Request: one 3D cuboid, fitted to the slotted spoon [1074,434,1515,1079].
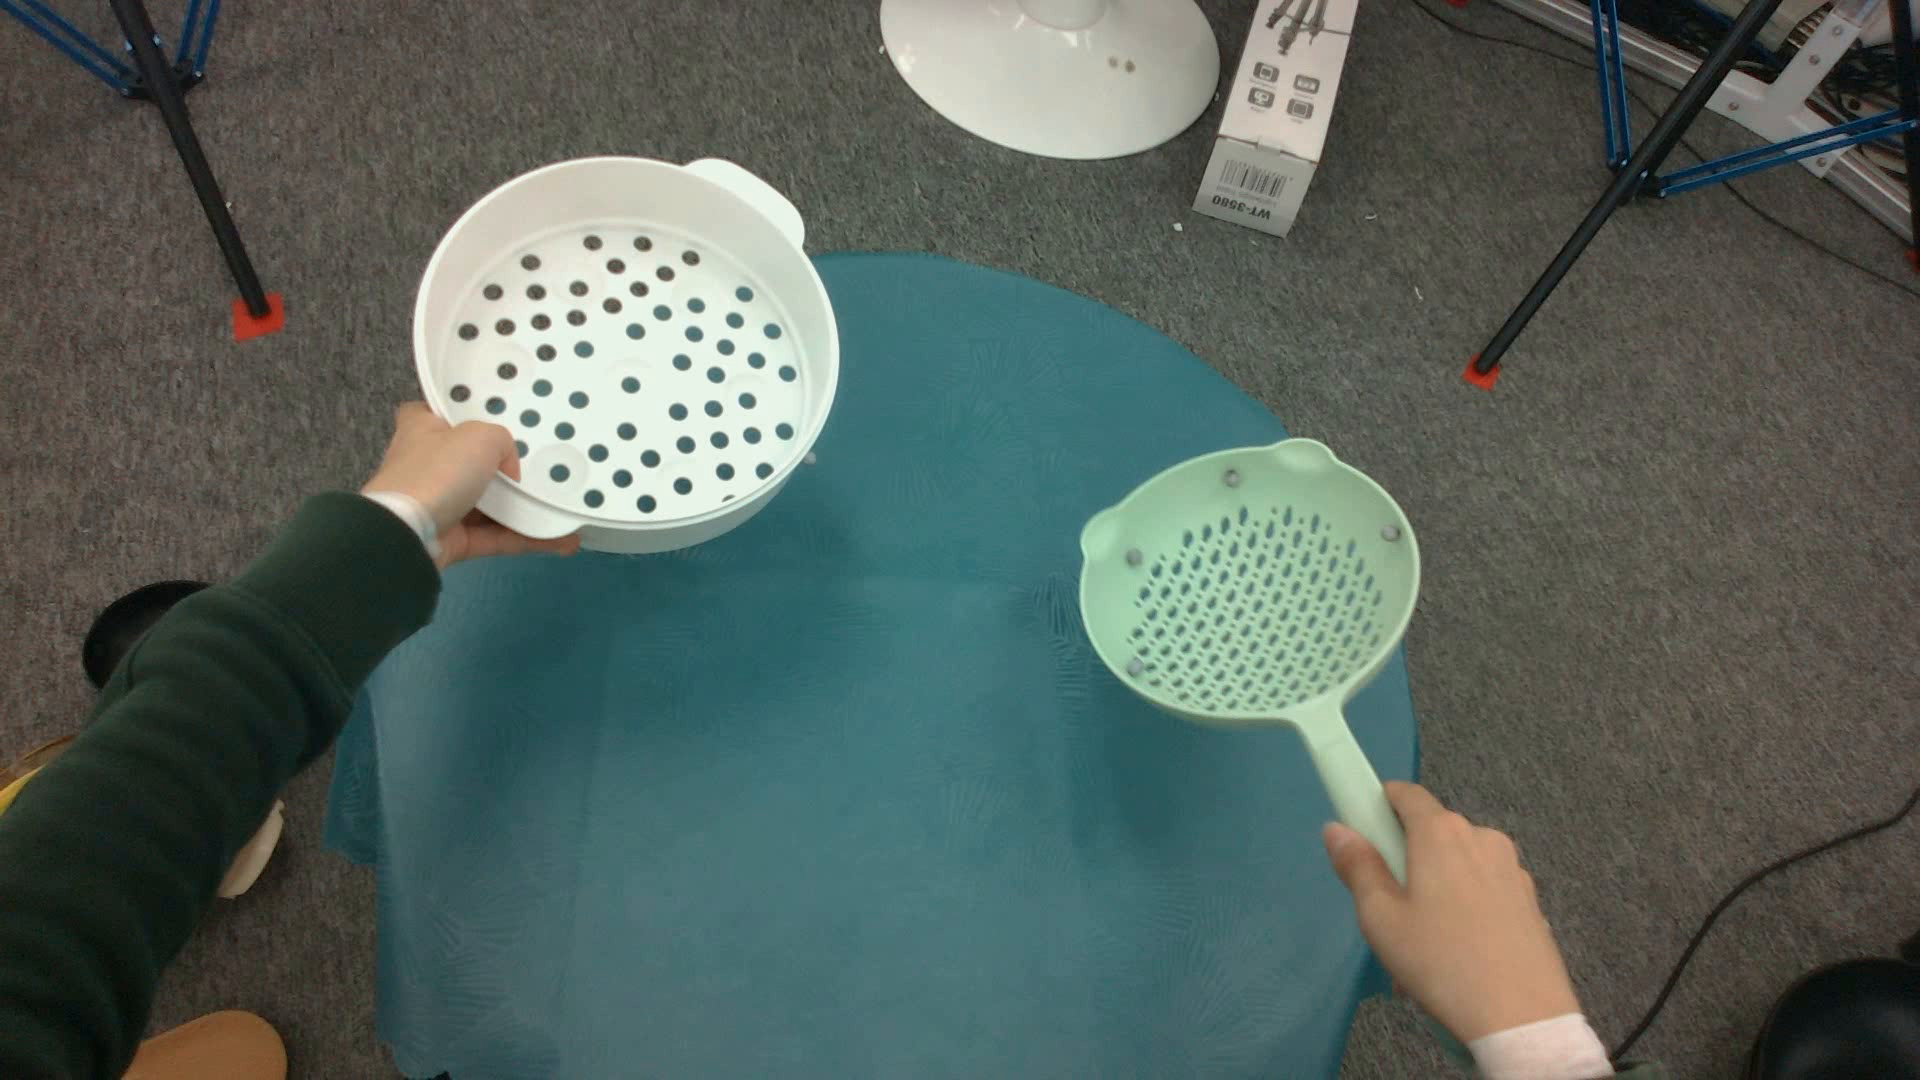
[{"bbox_3d":[0.165,0.088,0.634,0.169,0.075,0.360,-24,37,6],"label":"slotted spoon"}]

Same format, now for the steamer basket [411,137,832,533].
[{"bbox_3d":[-0.170,-0.102,0.704,0.202,0.069,0.231,33,66,-4],"label":"steamer basket"}]
